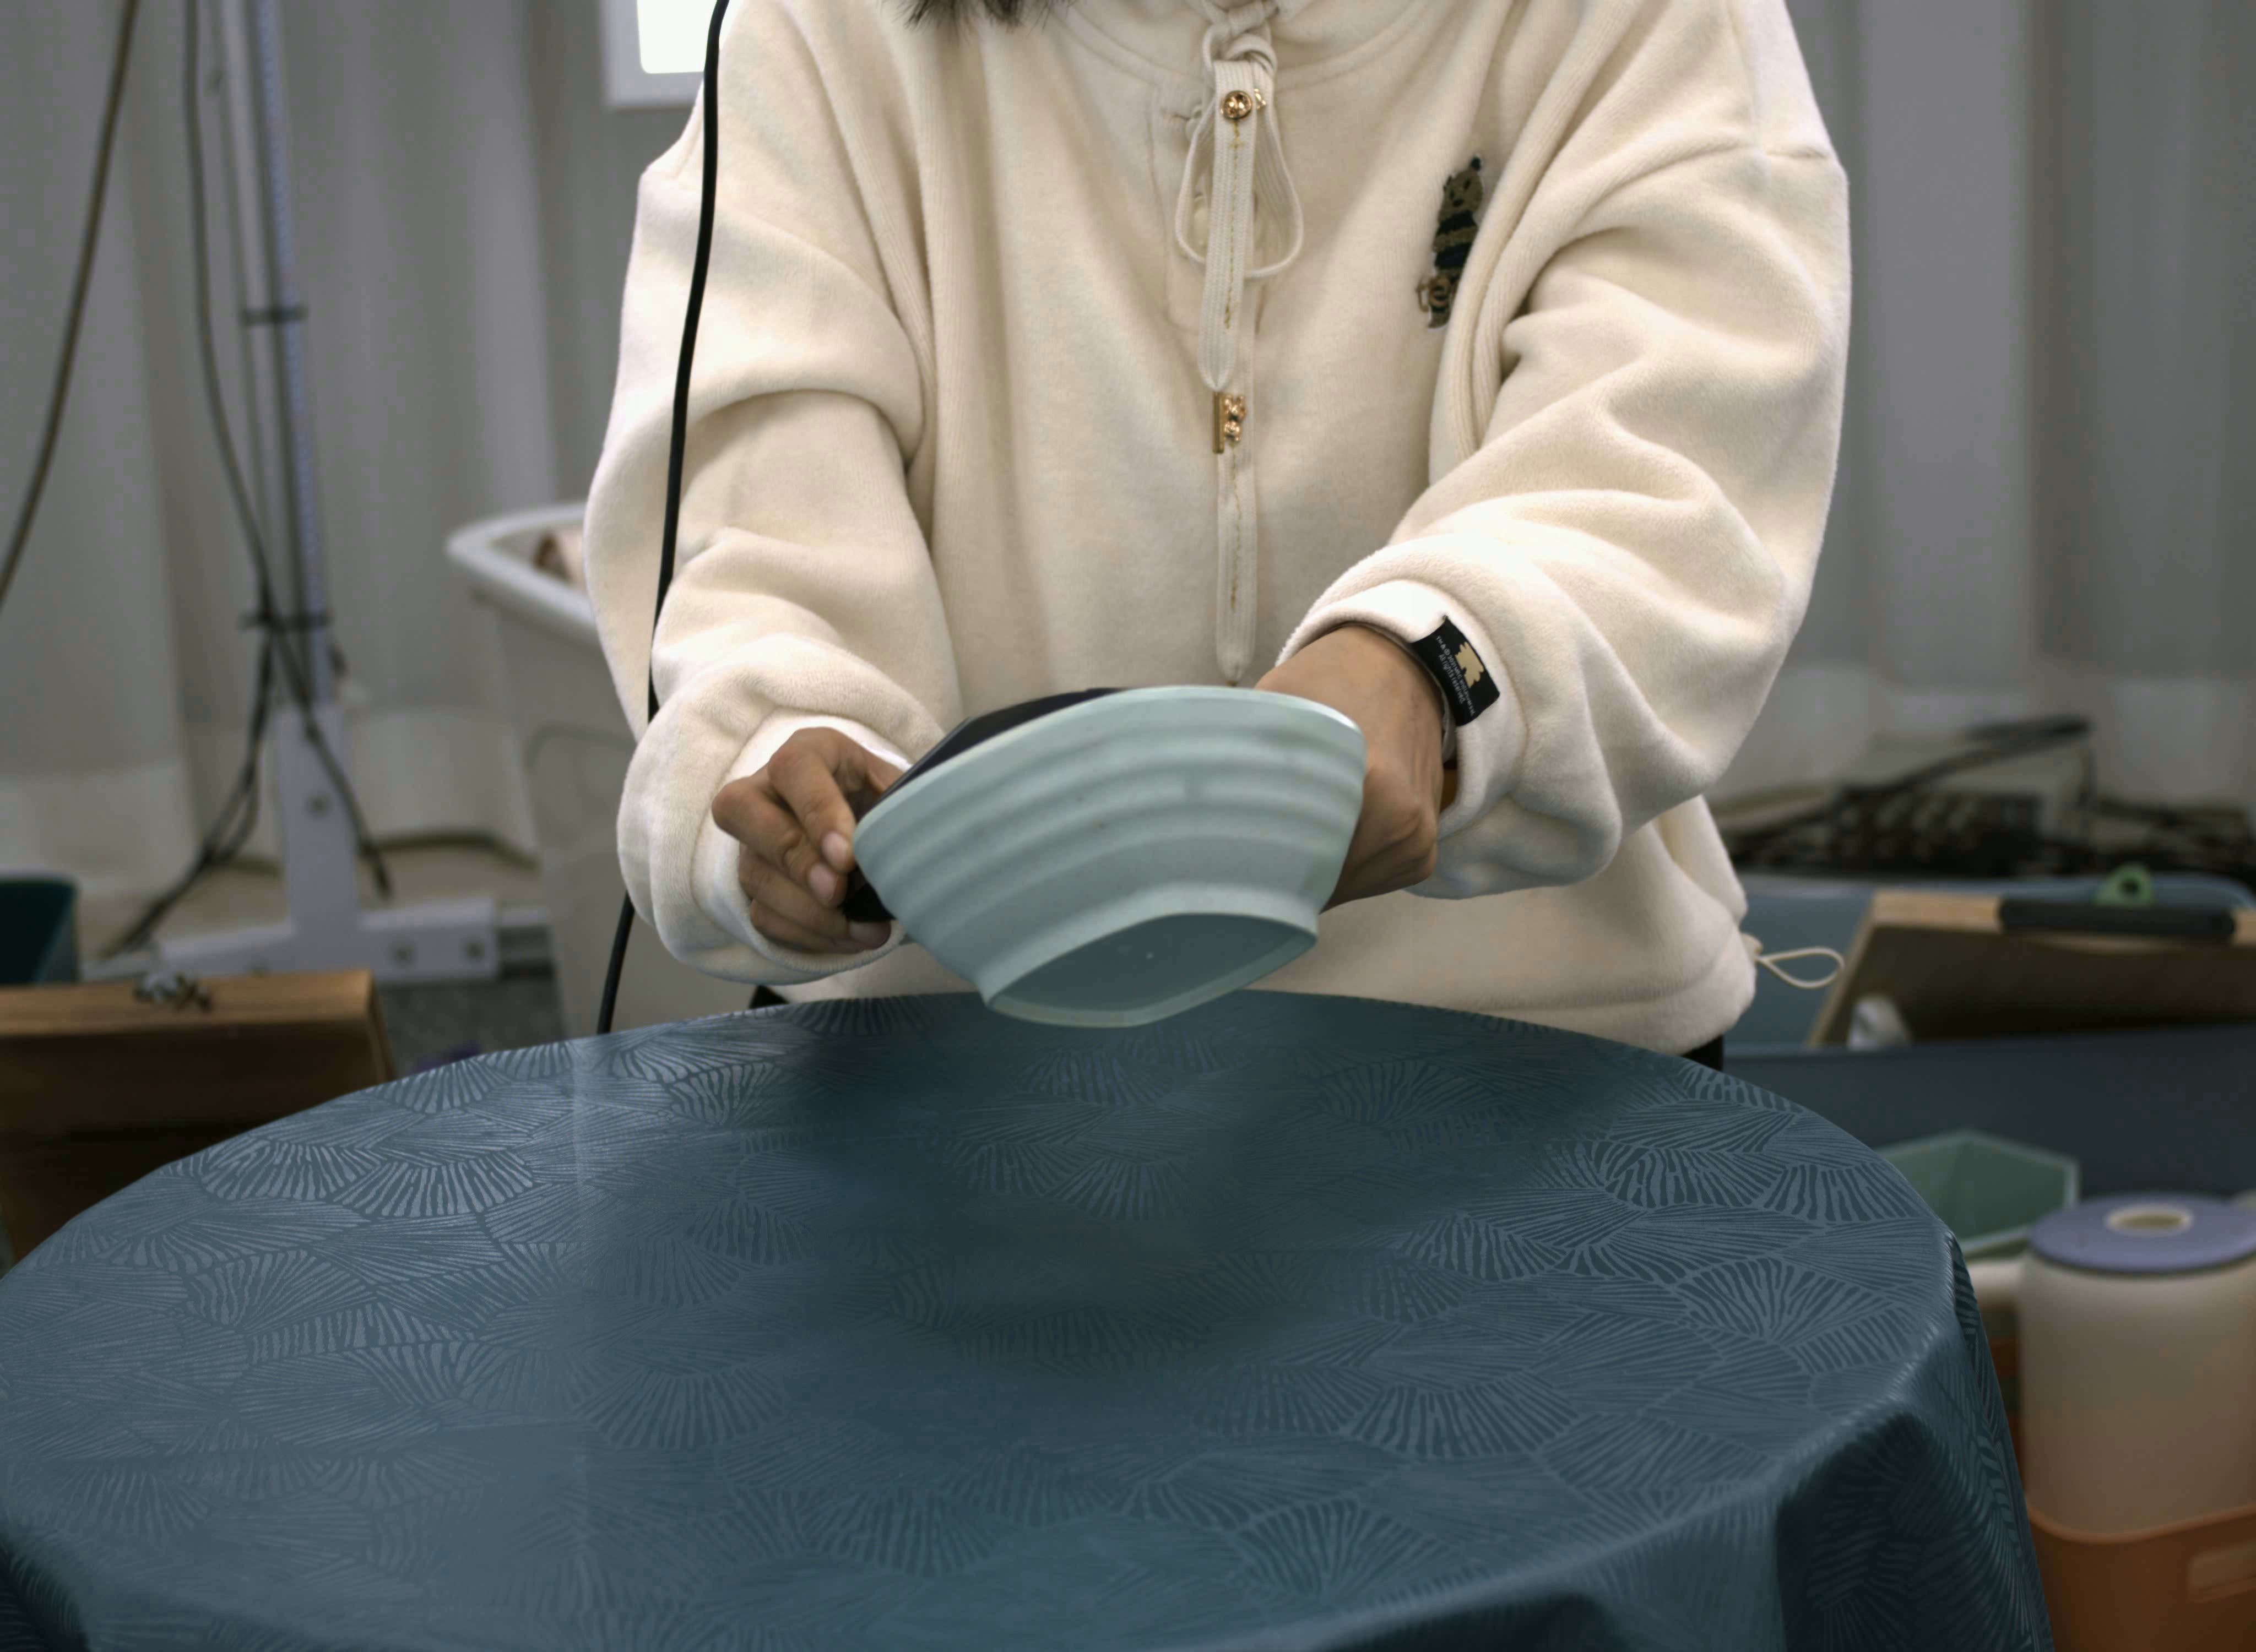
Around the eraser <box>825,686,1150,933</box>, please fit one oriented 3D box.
[{"bbox_3d":[-0.040,-0.004,1.597,0.053,0.031,0.125,-3,-21,-28],"label":"eraser"}]

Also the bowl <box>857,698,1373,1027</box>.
[{"bbox_3d":[0.002,0.016,1.557,0.151,0.059,0.150,-11,-18,-4],"label":"bowl"}]
